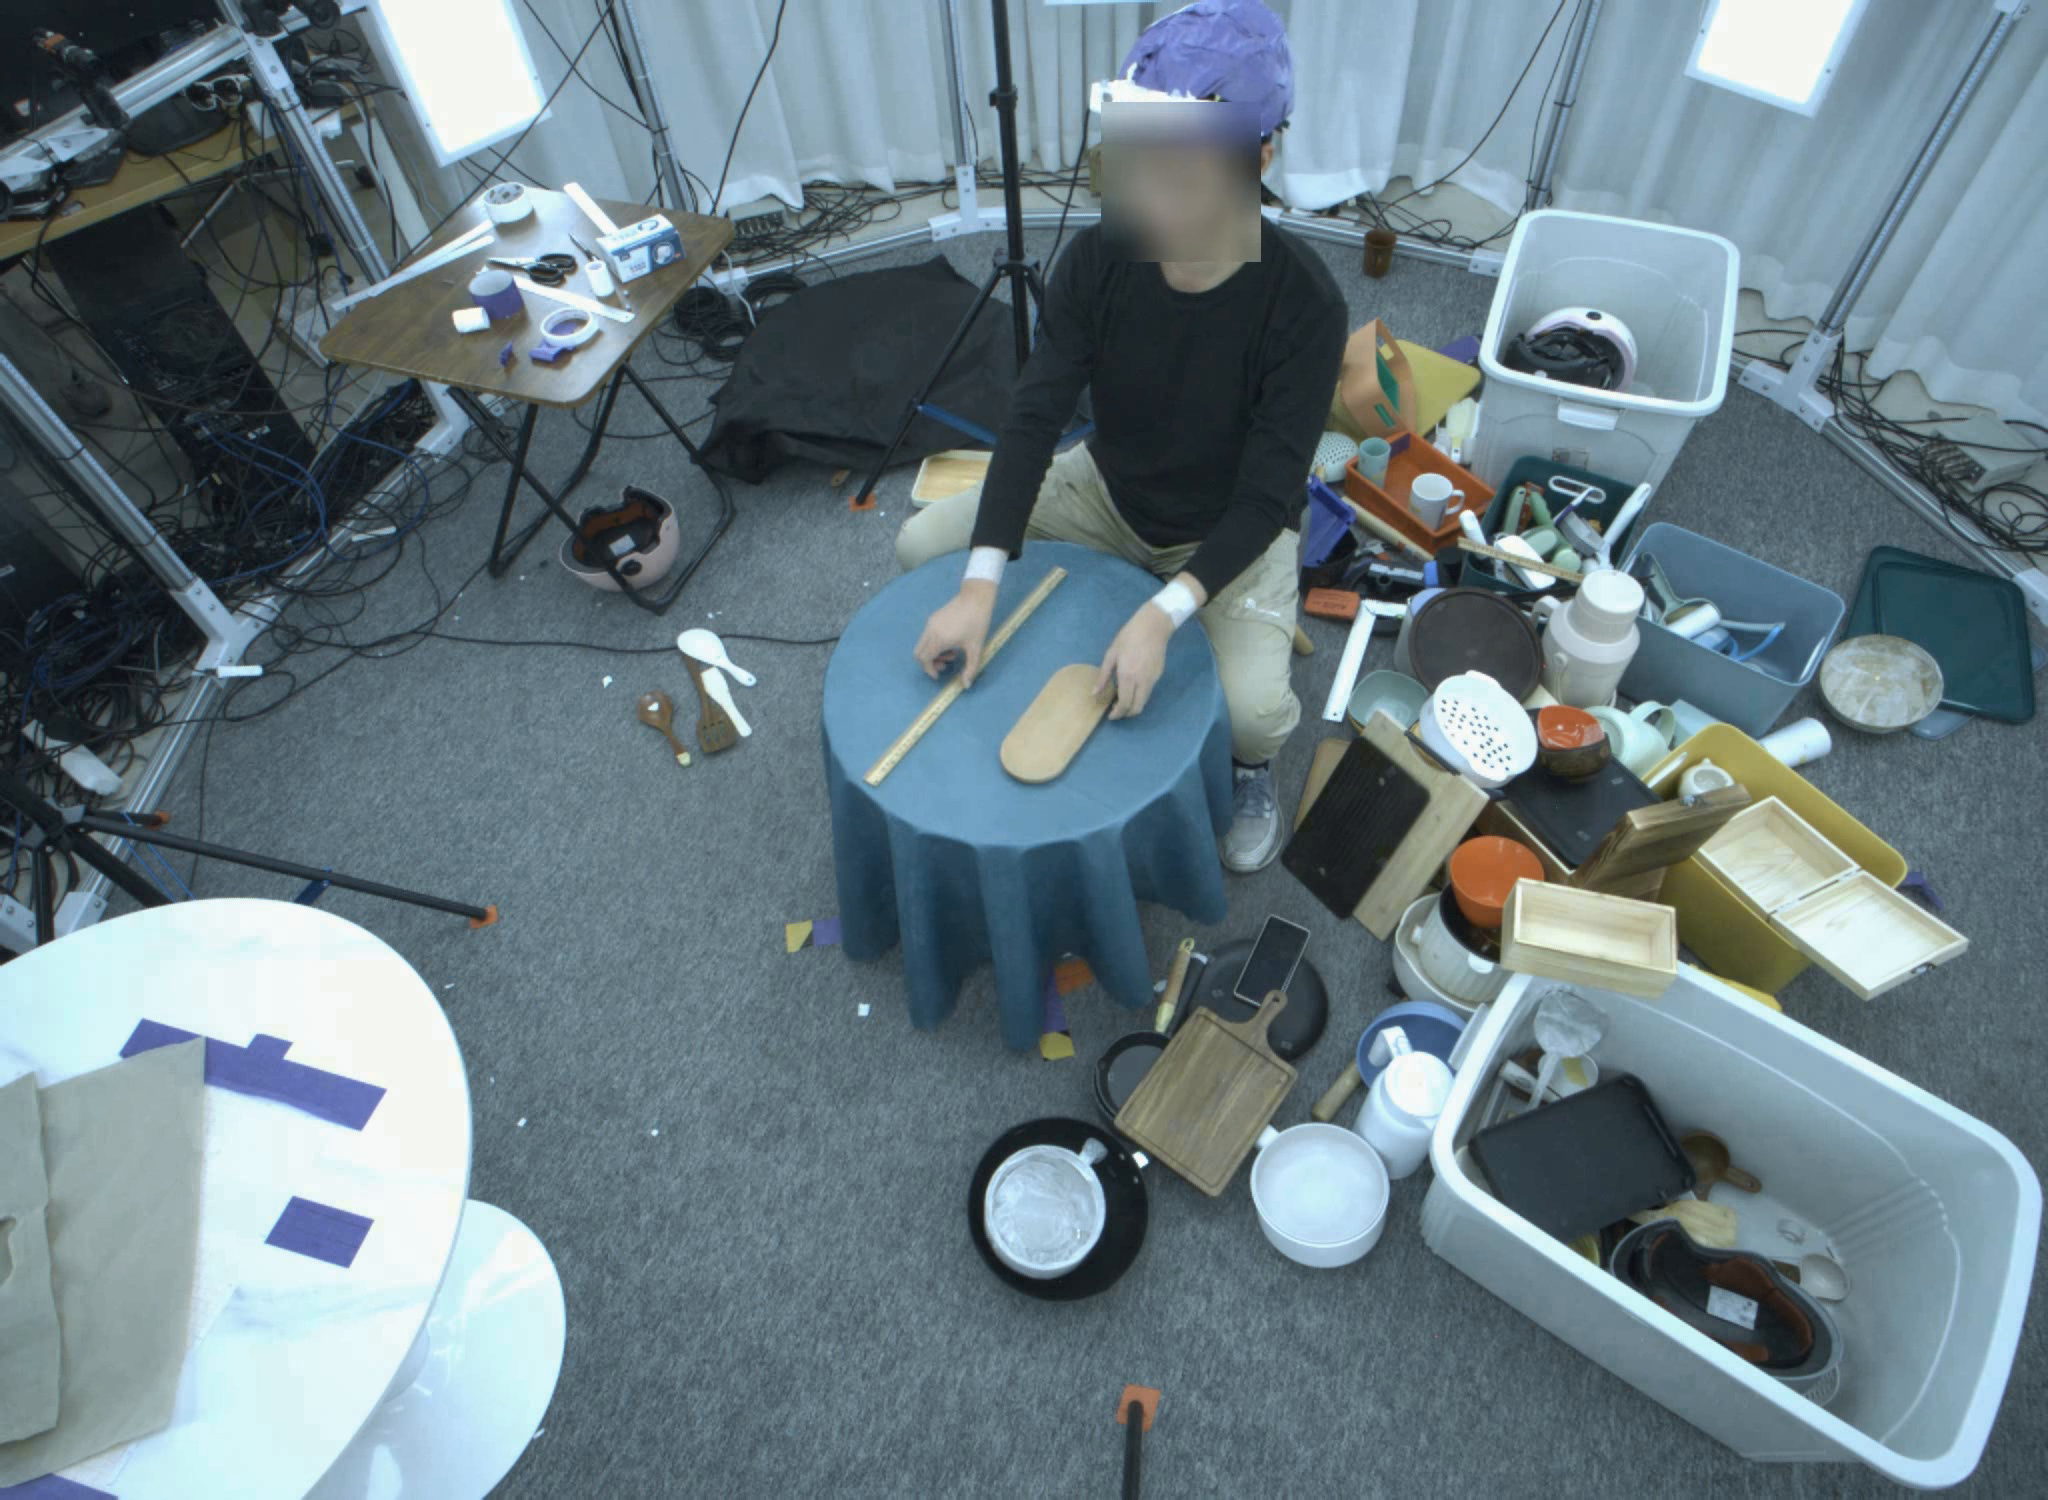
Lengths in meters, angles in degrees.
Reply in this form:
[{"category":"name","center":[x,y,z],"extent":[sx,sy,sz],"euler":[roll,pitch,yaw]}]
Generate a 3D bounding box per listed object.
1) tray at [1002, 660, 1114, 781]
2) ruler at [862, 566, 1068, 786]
[{"category":"tray","center":[0.051,-0.044,1.807],"extent":[0.100,0.020,0.232],"euler":[24,57,16]},{"category":"ruler","center":[-0.081,-0.123,1.875],"extent":[0.026,0.006,0.502],"euler":[31,61,18]}]
